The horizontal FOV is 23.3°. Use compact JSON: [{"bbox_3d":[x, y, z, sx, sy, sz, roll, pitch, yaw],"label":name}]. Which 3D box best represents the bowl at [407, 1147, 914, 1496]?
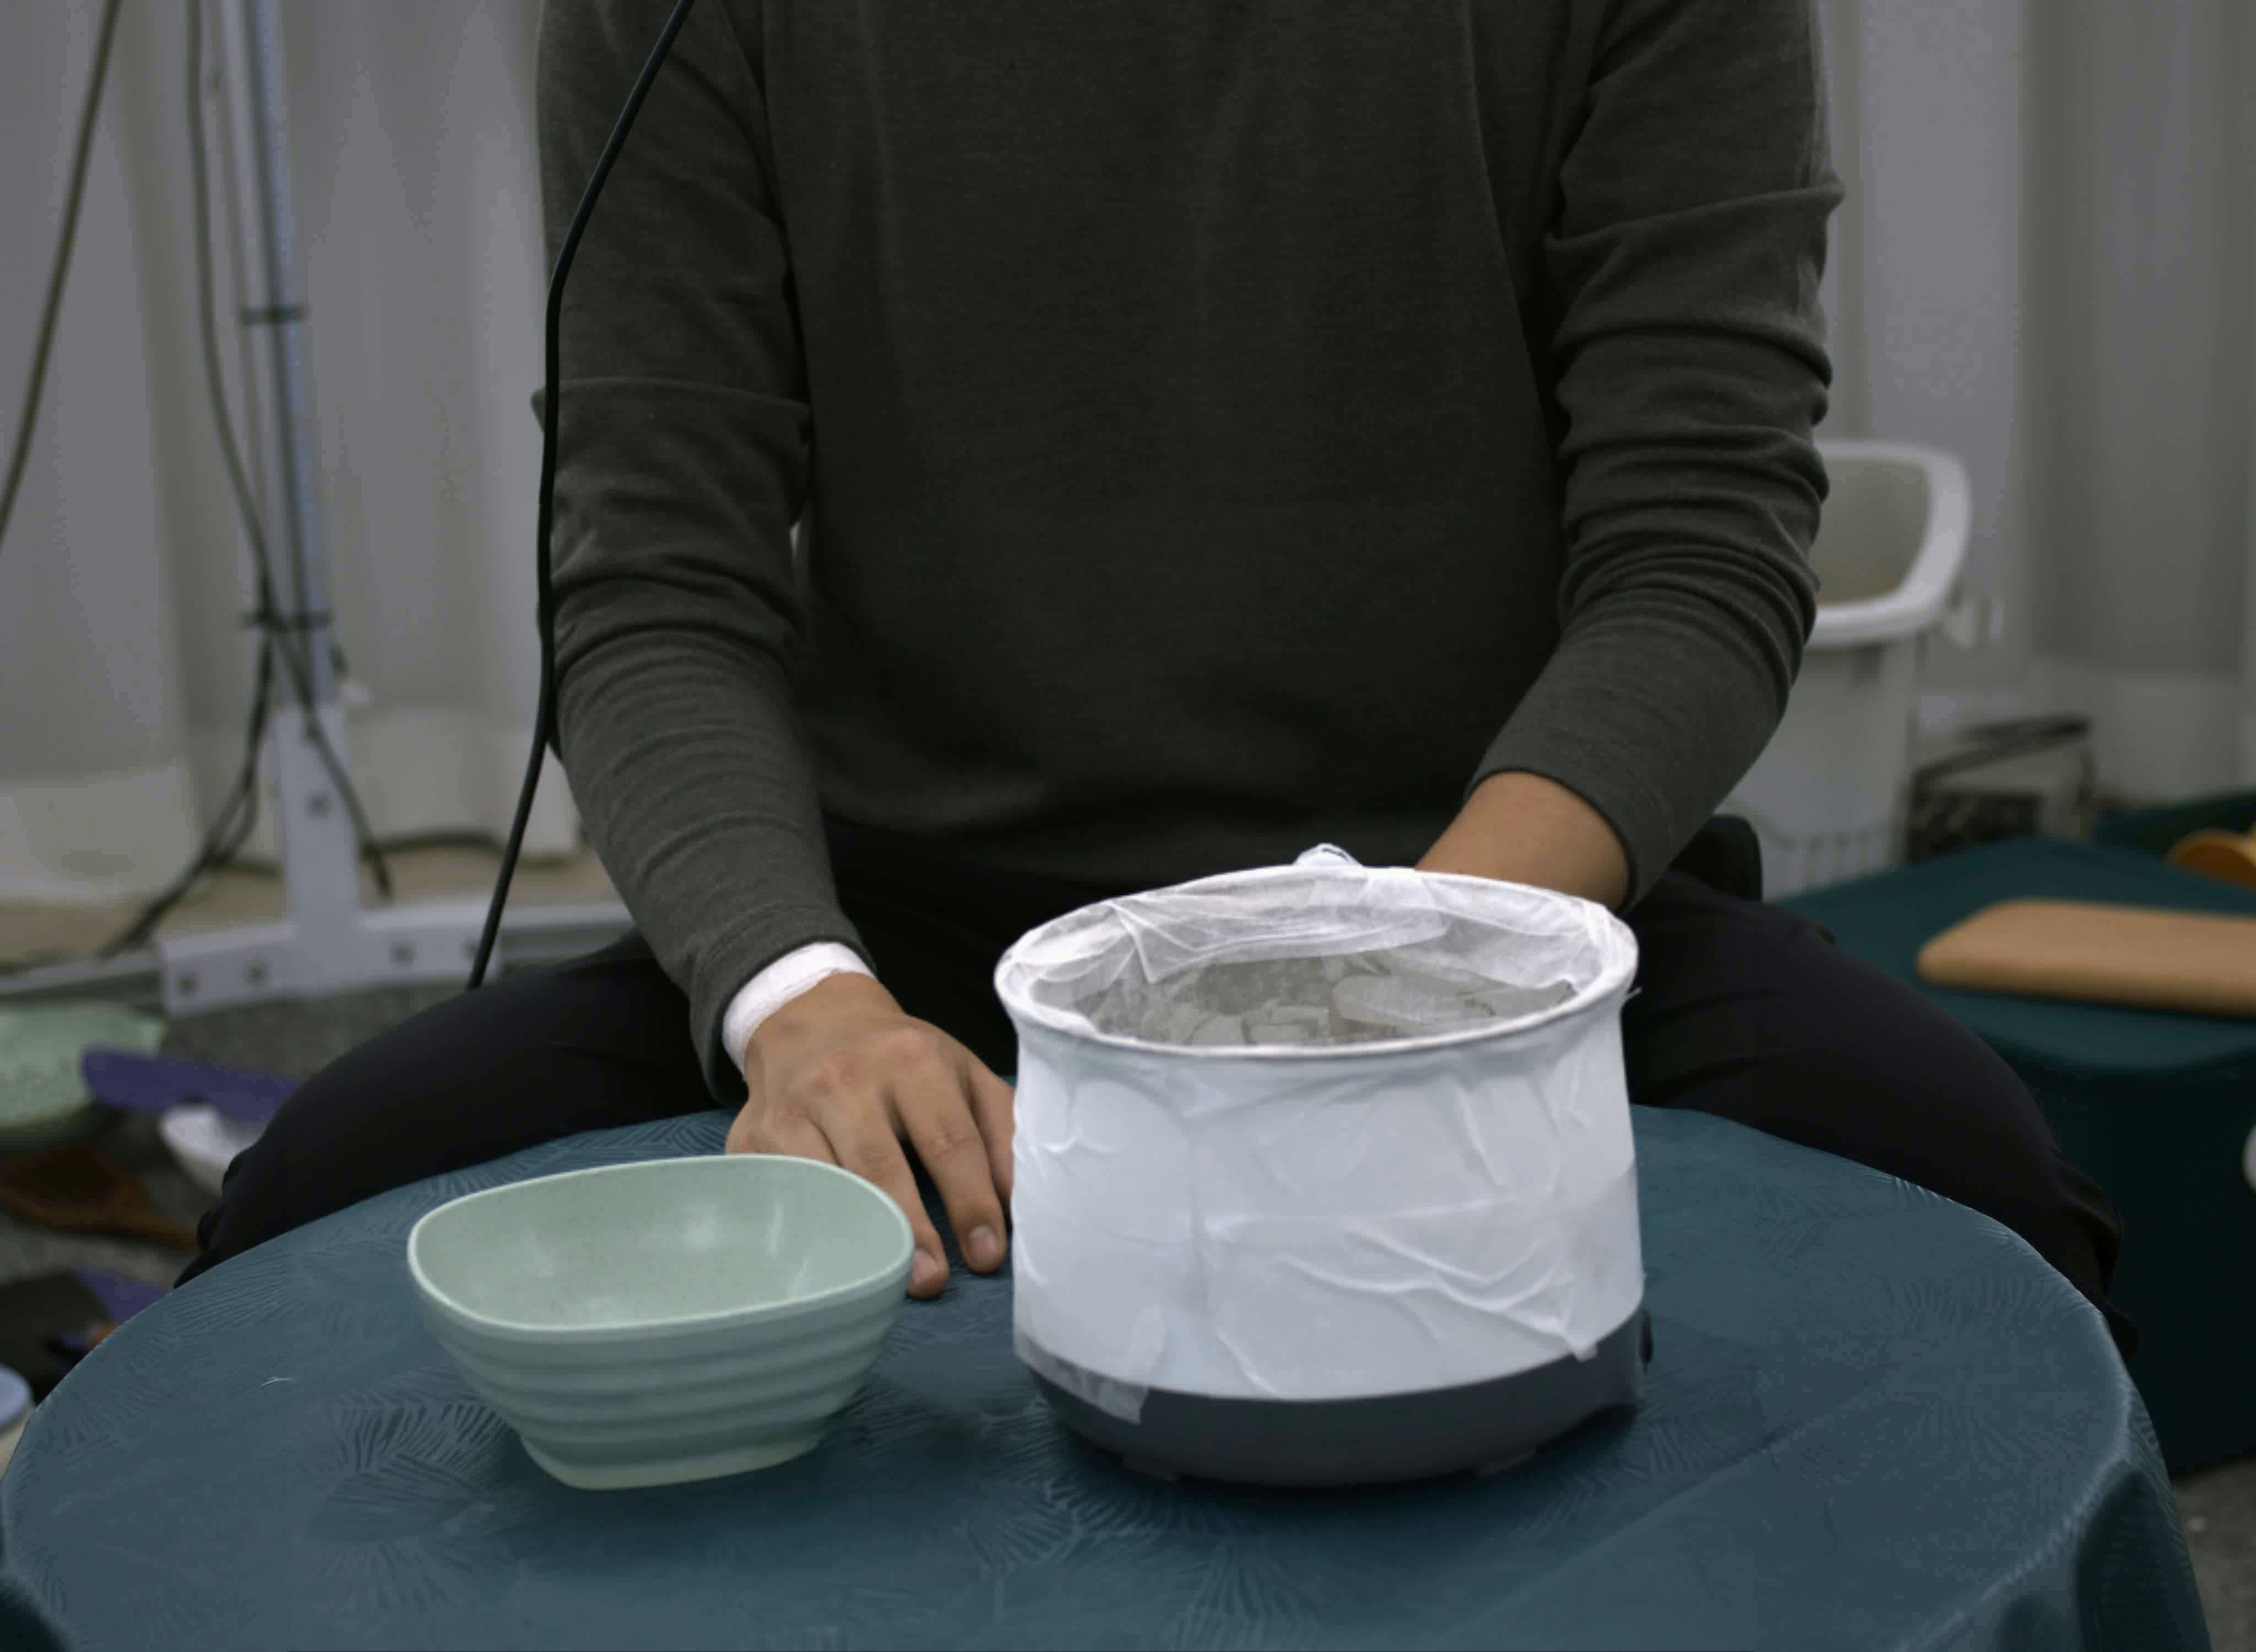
[{"bbox_3d":[-0.129,0.142,1.529,0.151,0.058,0.152,-3,16,0],"label":"bowl"}]

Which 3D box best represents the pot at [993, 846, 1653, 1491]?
[{"bbox_3d":[0.056,0.090,1.537,0.178,0.136,0.235,-2,14,4],"label":"pot"}]
